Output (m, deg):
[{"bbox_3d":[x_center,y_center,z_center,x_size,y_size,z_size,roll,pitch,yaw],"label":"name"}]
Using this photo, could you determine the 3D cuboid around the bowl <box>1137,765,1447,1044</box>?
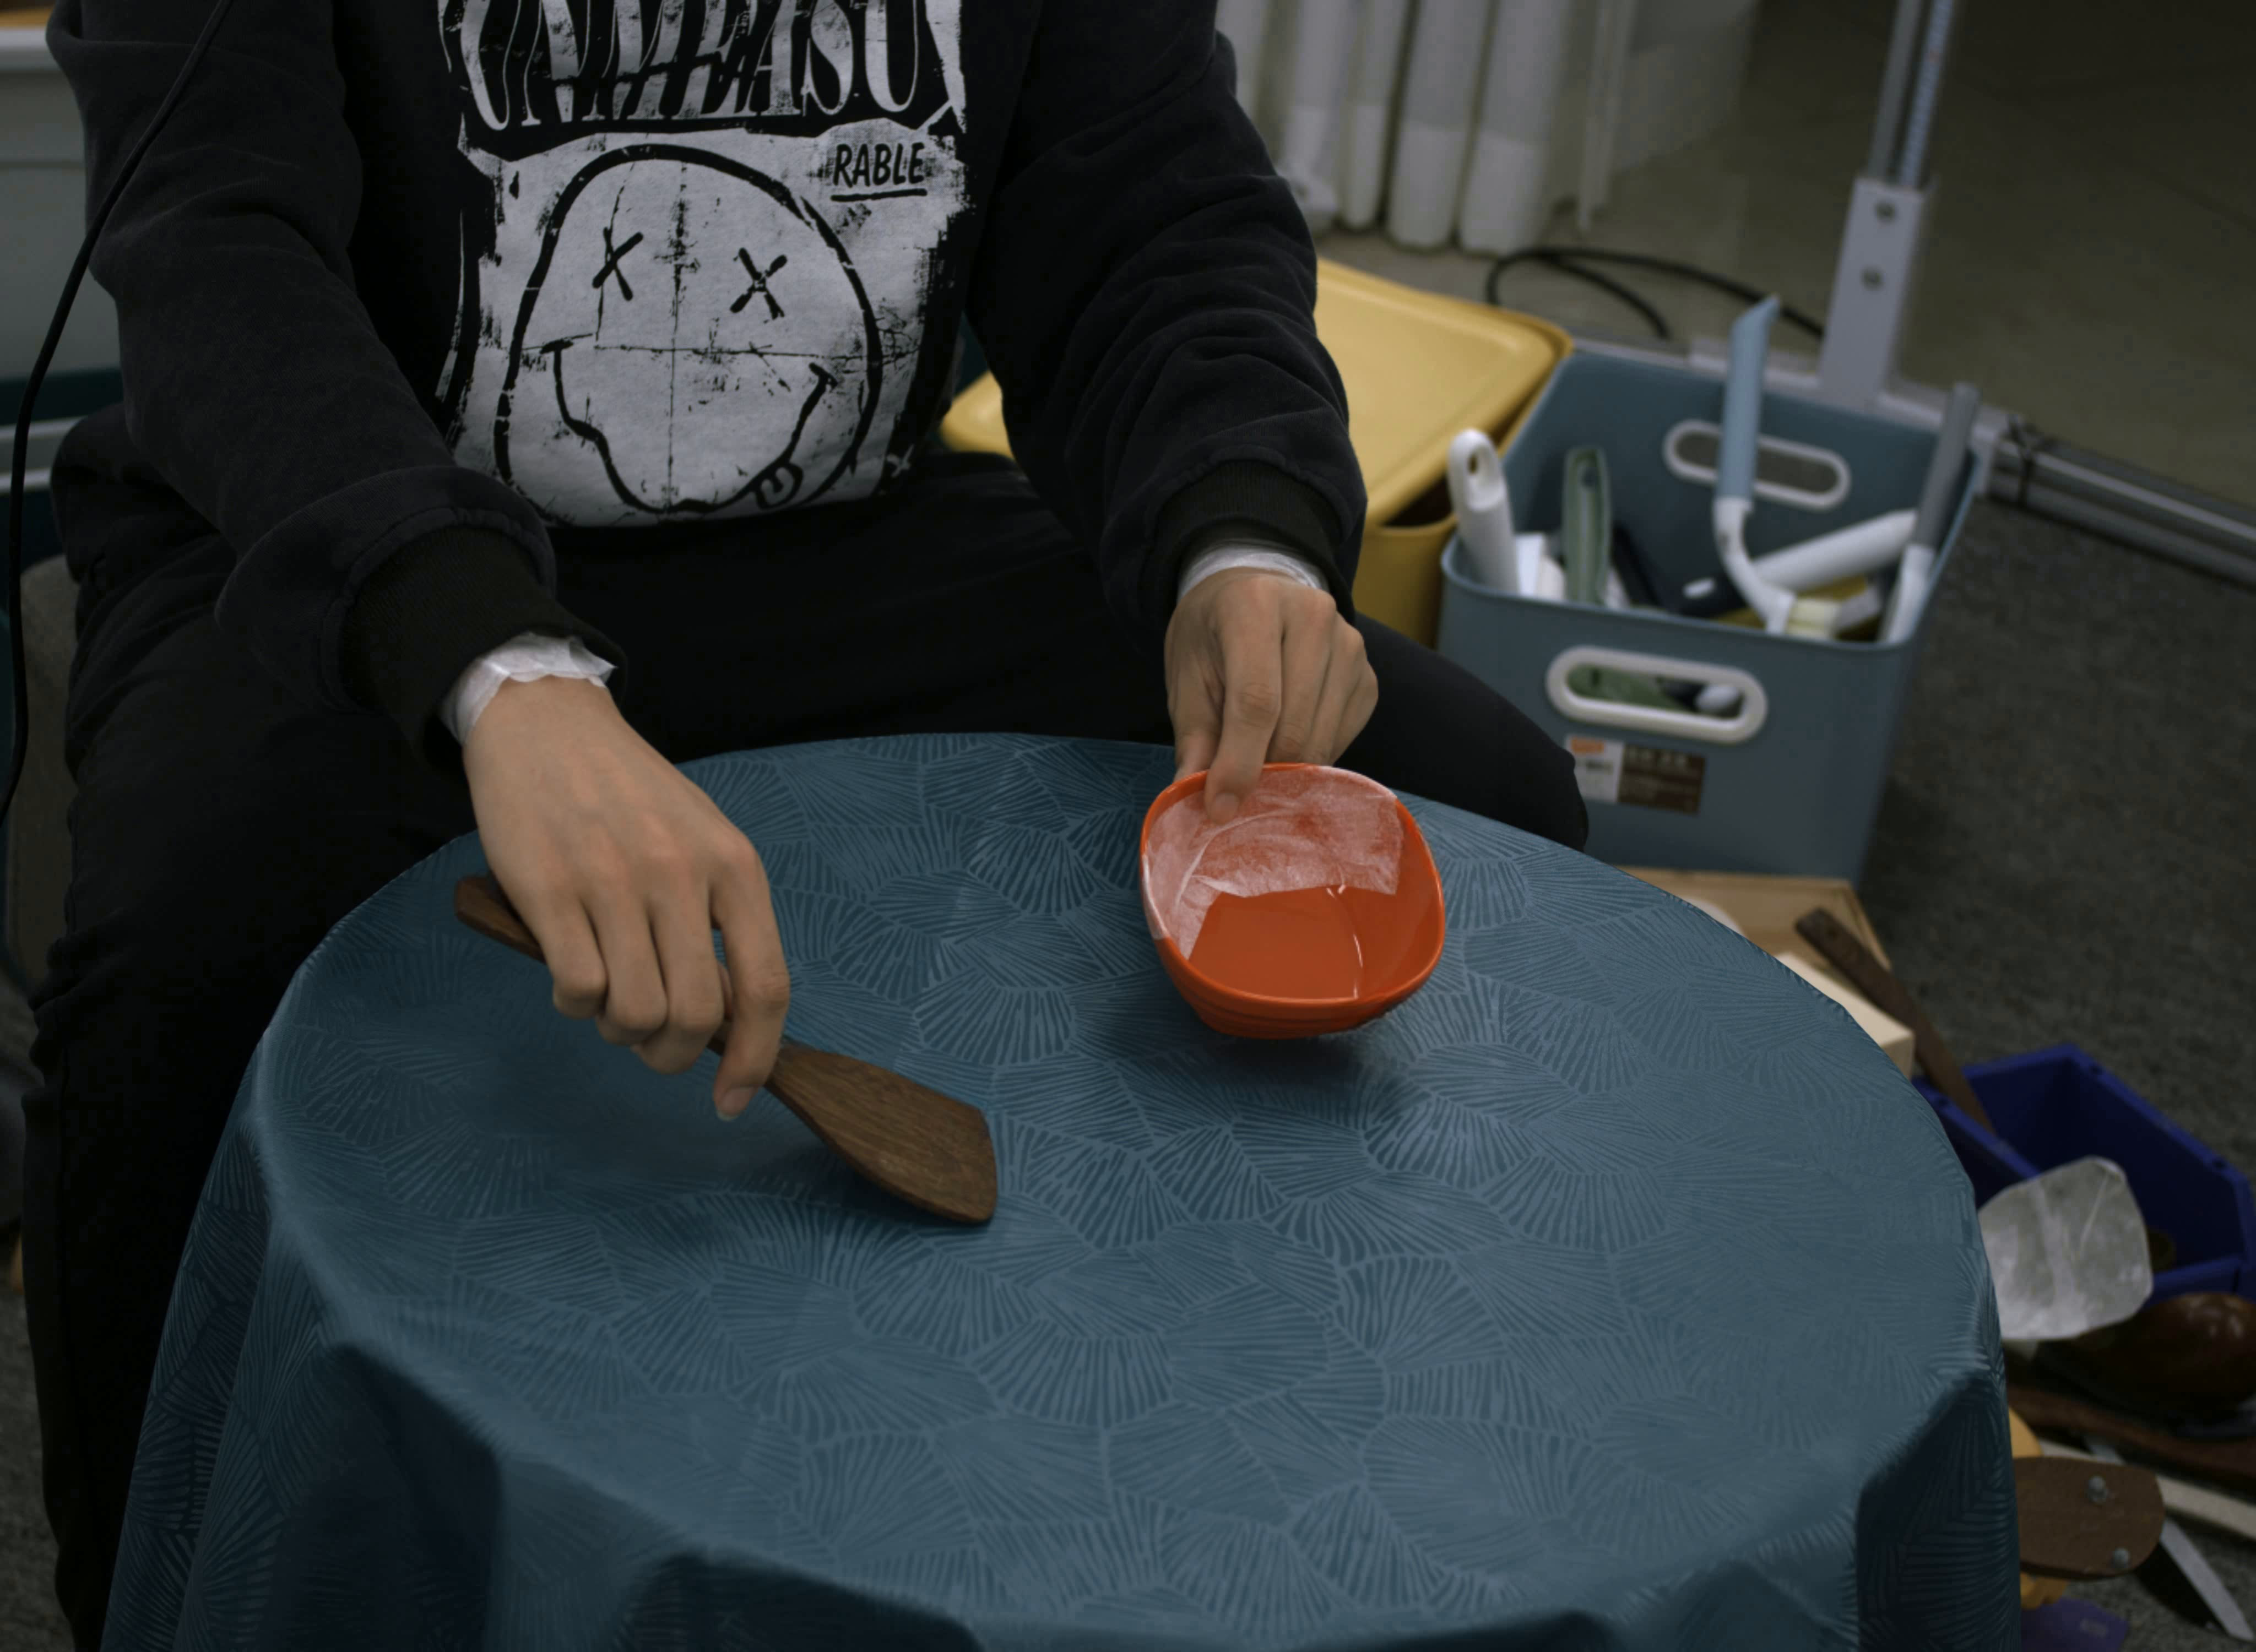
[{"bbox_3d":[0.055,0.036,1.908,0.118,0.051,0.120,6,50,-7],"label":"bowl"}]

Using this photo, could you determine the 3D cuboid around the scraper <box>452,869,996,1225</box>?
[{"bbox_3d":[-0.134,0.070,1.771,0.210,0.011,0.076,30,24,-16],"label":"scraper"}]
